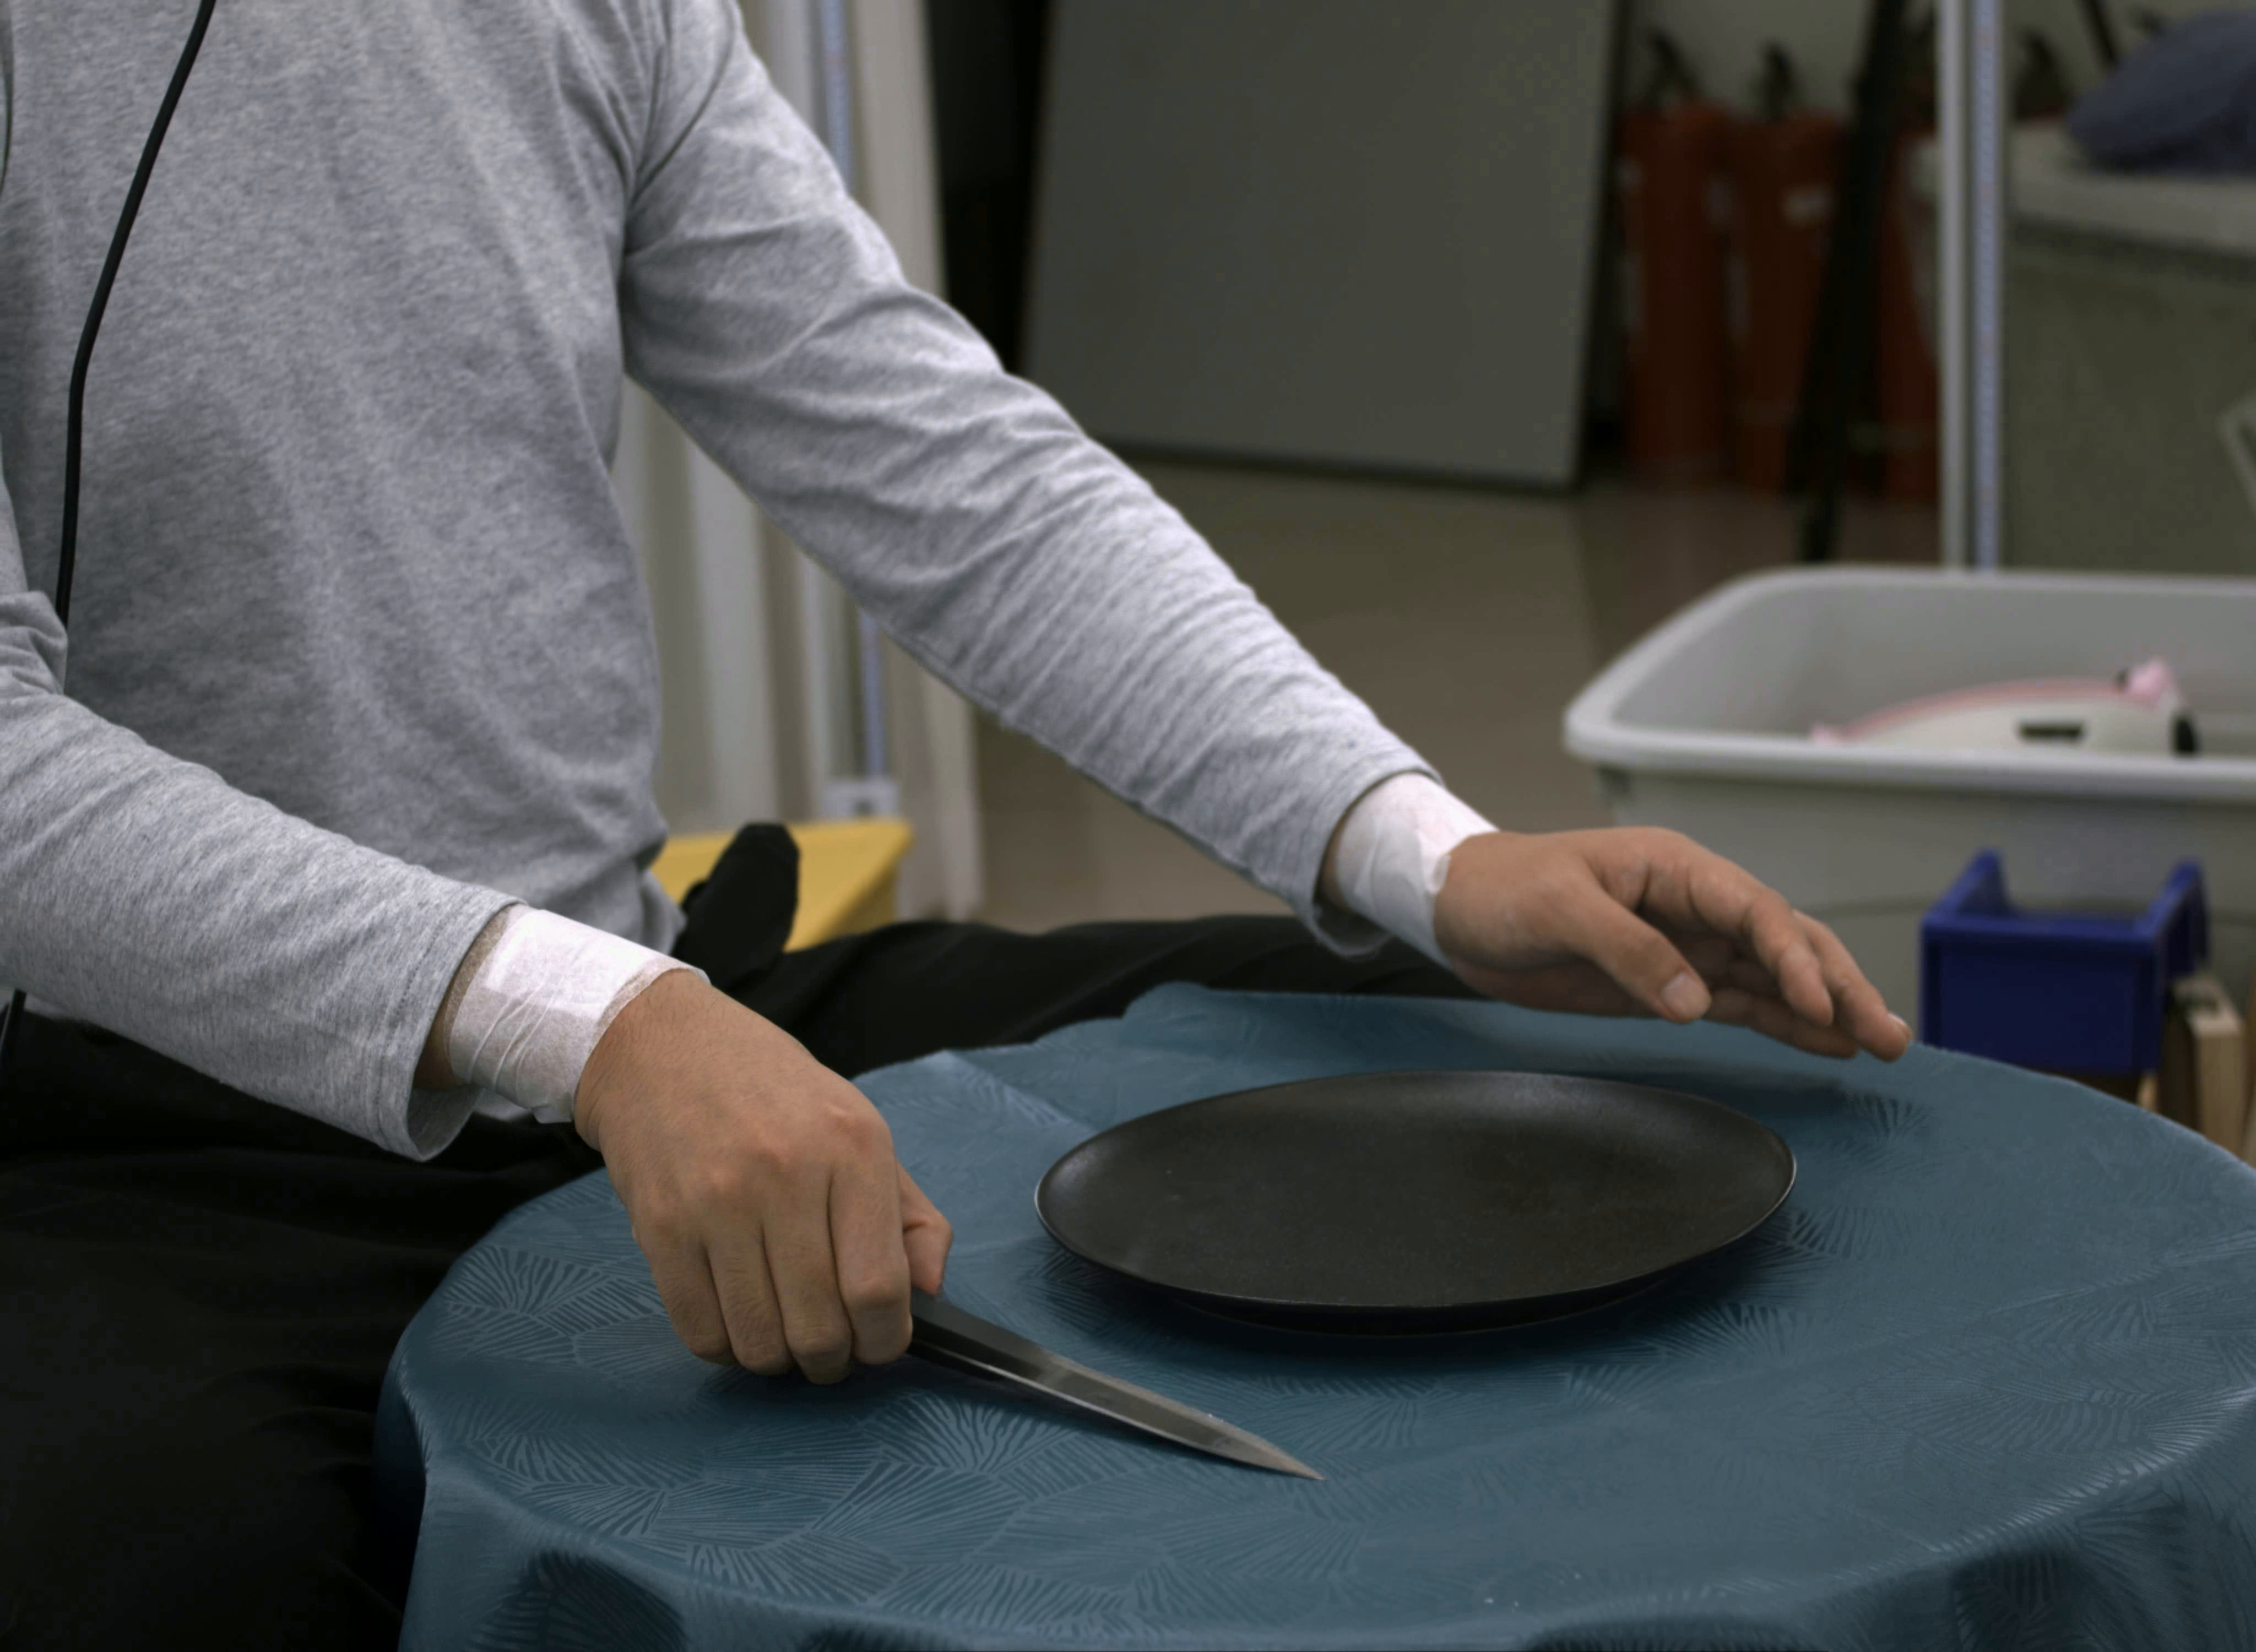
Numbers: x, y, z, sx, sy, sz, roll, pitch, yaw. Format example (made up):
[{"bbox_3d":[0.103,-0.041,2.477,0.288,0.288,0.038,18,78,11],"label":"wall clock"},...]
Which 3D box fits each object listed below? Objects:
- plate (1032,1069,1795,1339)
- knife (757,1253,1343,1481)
[{"bbox_3d":[0.090,0.122,1.699,0.241,0.024,0.245,-4,13,0],"label":"plate"},{"bbox_3d":[-0.028,0.161,1.585,0.240,0.016,0.024,15,22,42],"label":"knife"}]
